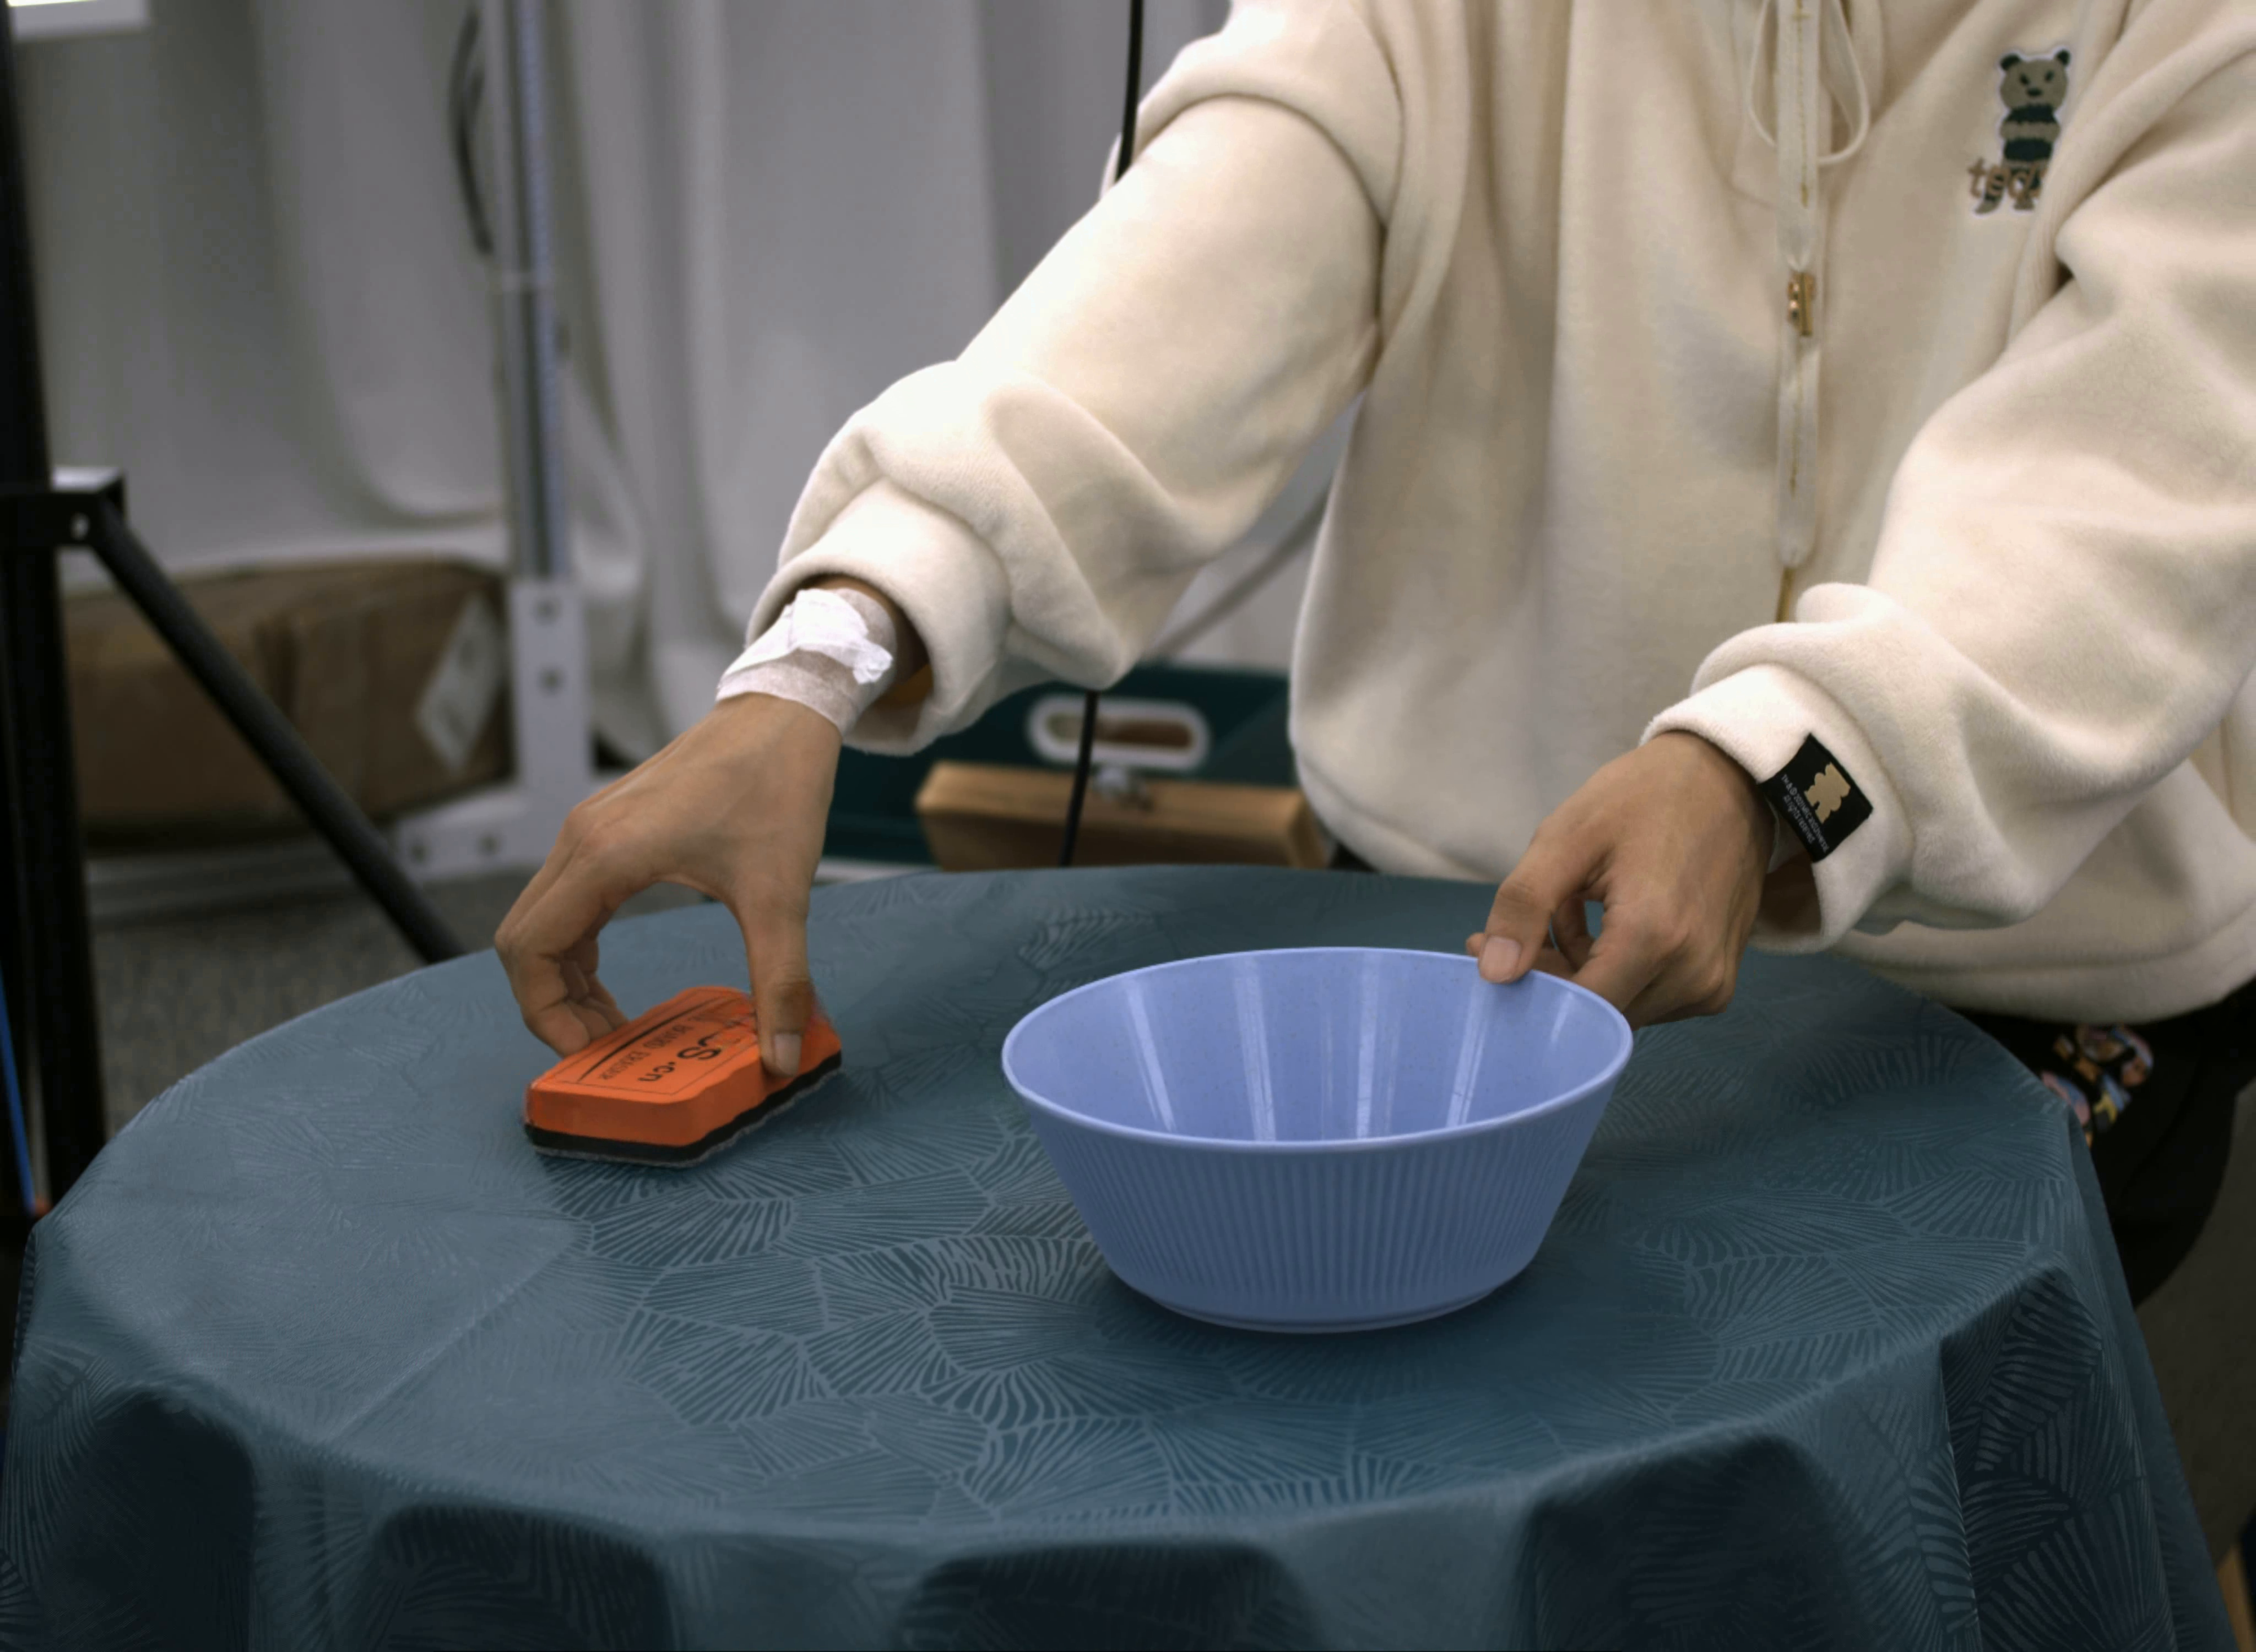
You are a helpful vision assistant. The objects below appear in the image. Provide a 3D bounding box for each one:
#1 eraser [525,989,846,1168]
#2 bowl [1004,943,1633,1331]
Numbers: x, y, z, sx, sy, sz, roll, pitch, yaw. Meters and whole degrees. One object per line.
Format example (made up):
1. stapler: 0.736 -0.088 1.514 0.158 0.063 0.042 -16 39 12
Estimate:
1. eraser: -0.136 0.077 1.647 0.060 0.023 0.106 4 17 28
2. bowl: 0.054 0.090 1.482 0.175 0.070 0.177 -3 16 -1
